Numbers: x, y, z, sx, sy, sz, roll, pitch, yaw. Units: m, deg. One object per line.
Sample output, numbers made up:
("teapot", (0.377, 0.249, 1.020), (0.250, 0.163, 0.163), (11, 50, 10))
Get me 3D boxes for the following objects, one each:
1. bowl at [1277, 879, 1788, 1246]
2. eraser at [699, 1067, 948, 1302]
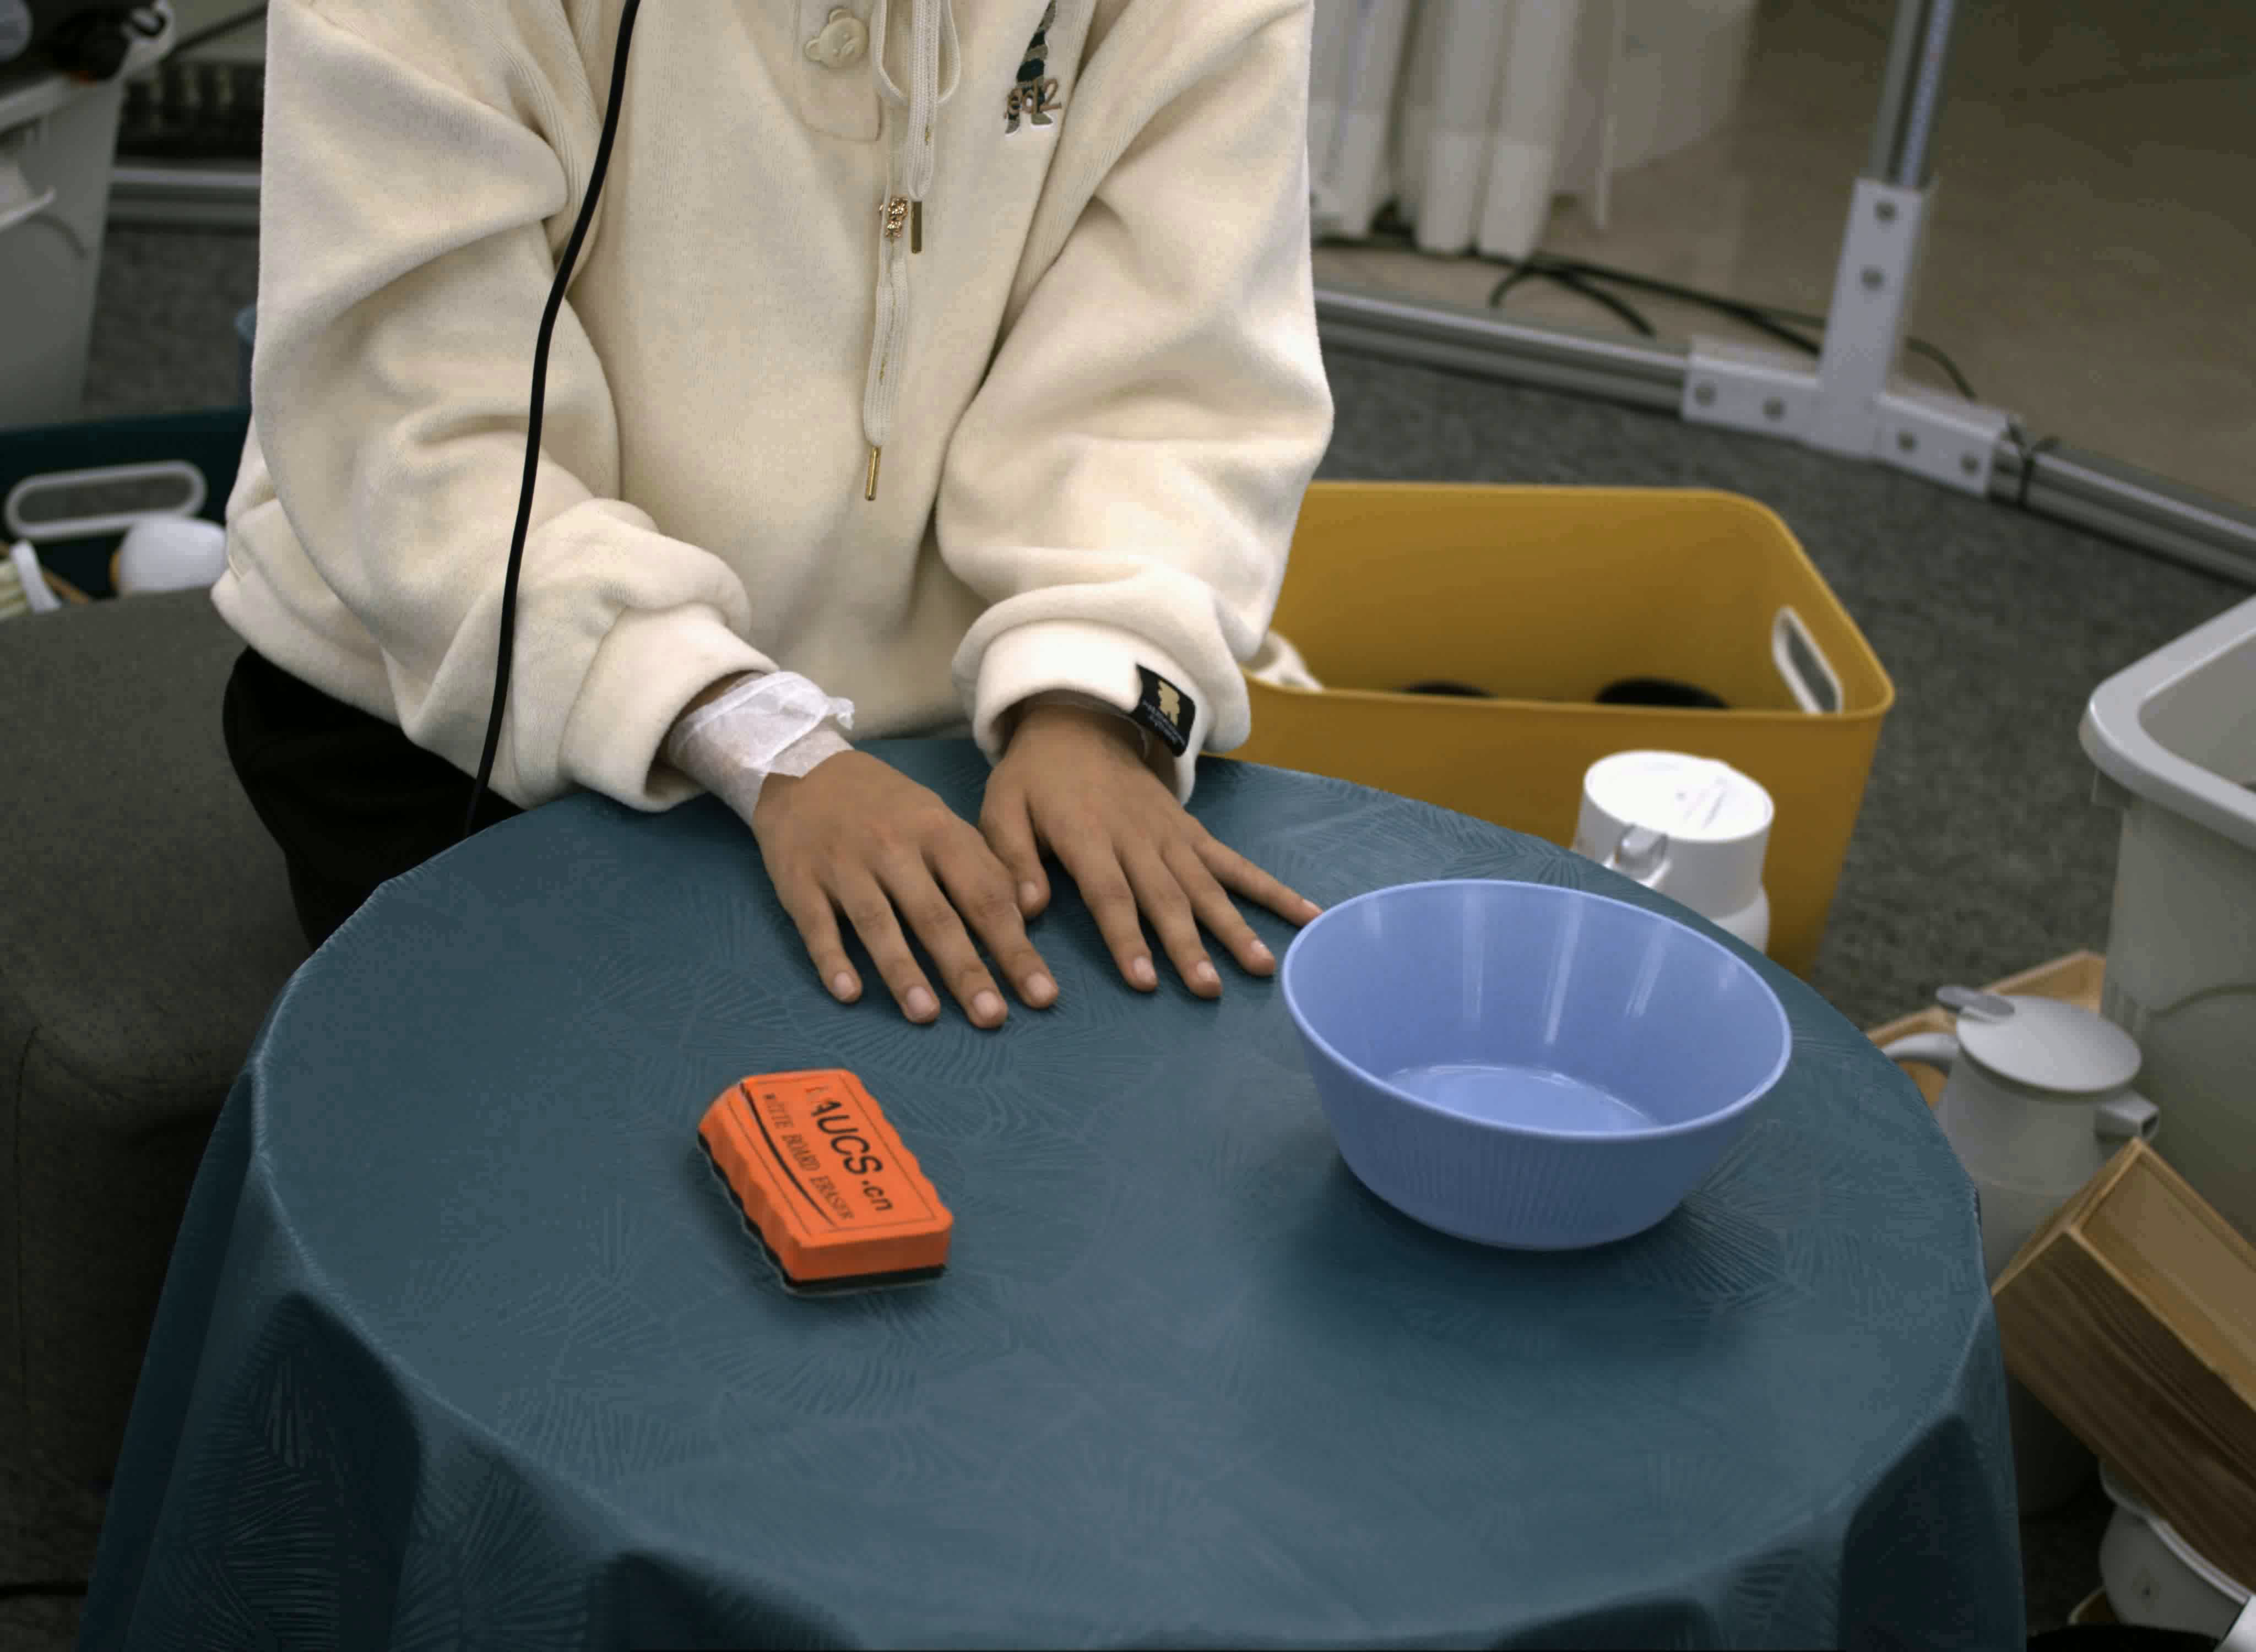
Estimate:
("bowl", (0.134, 0.087, 1.825), (0.175, 0.070, 0.177), (5, 27, -3))
("eraser", (-0.102, 0.118, 1.765), (0.058, 0.023, 0.109), (-7, 30, -20))
